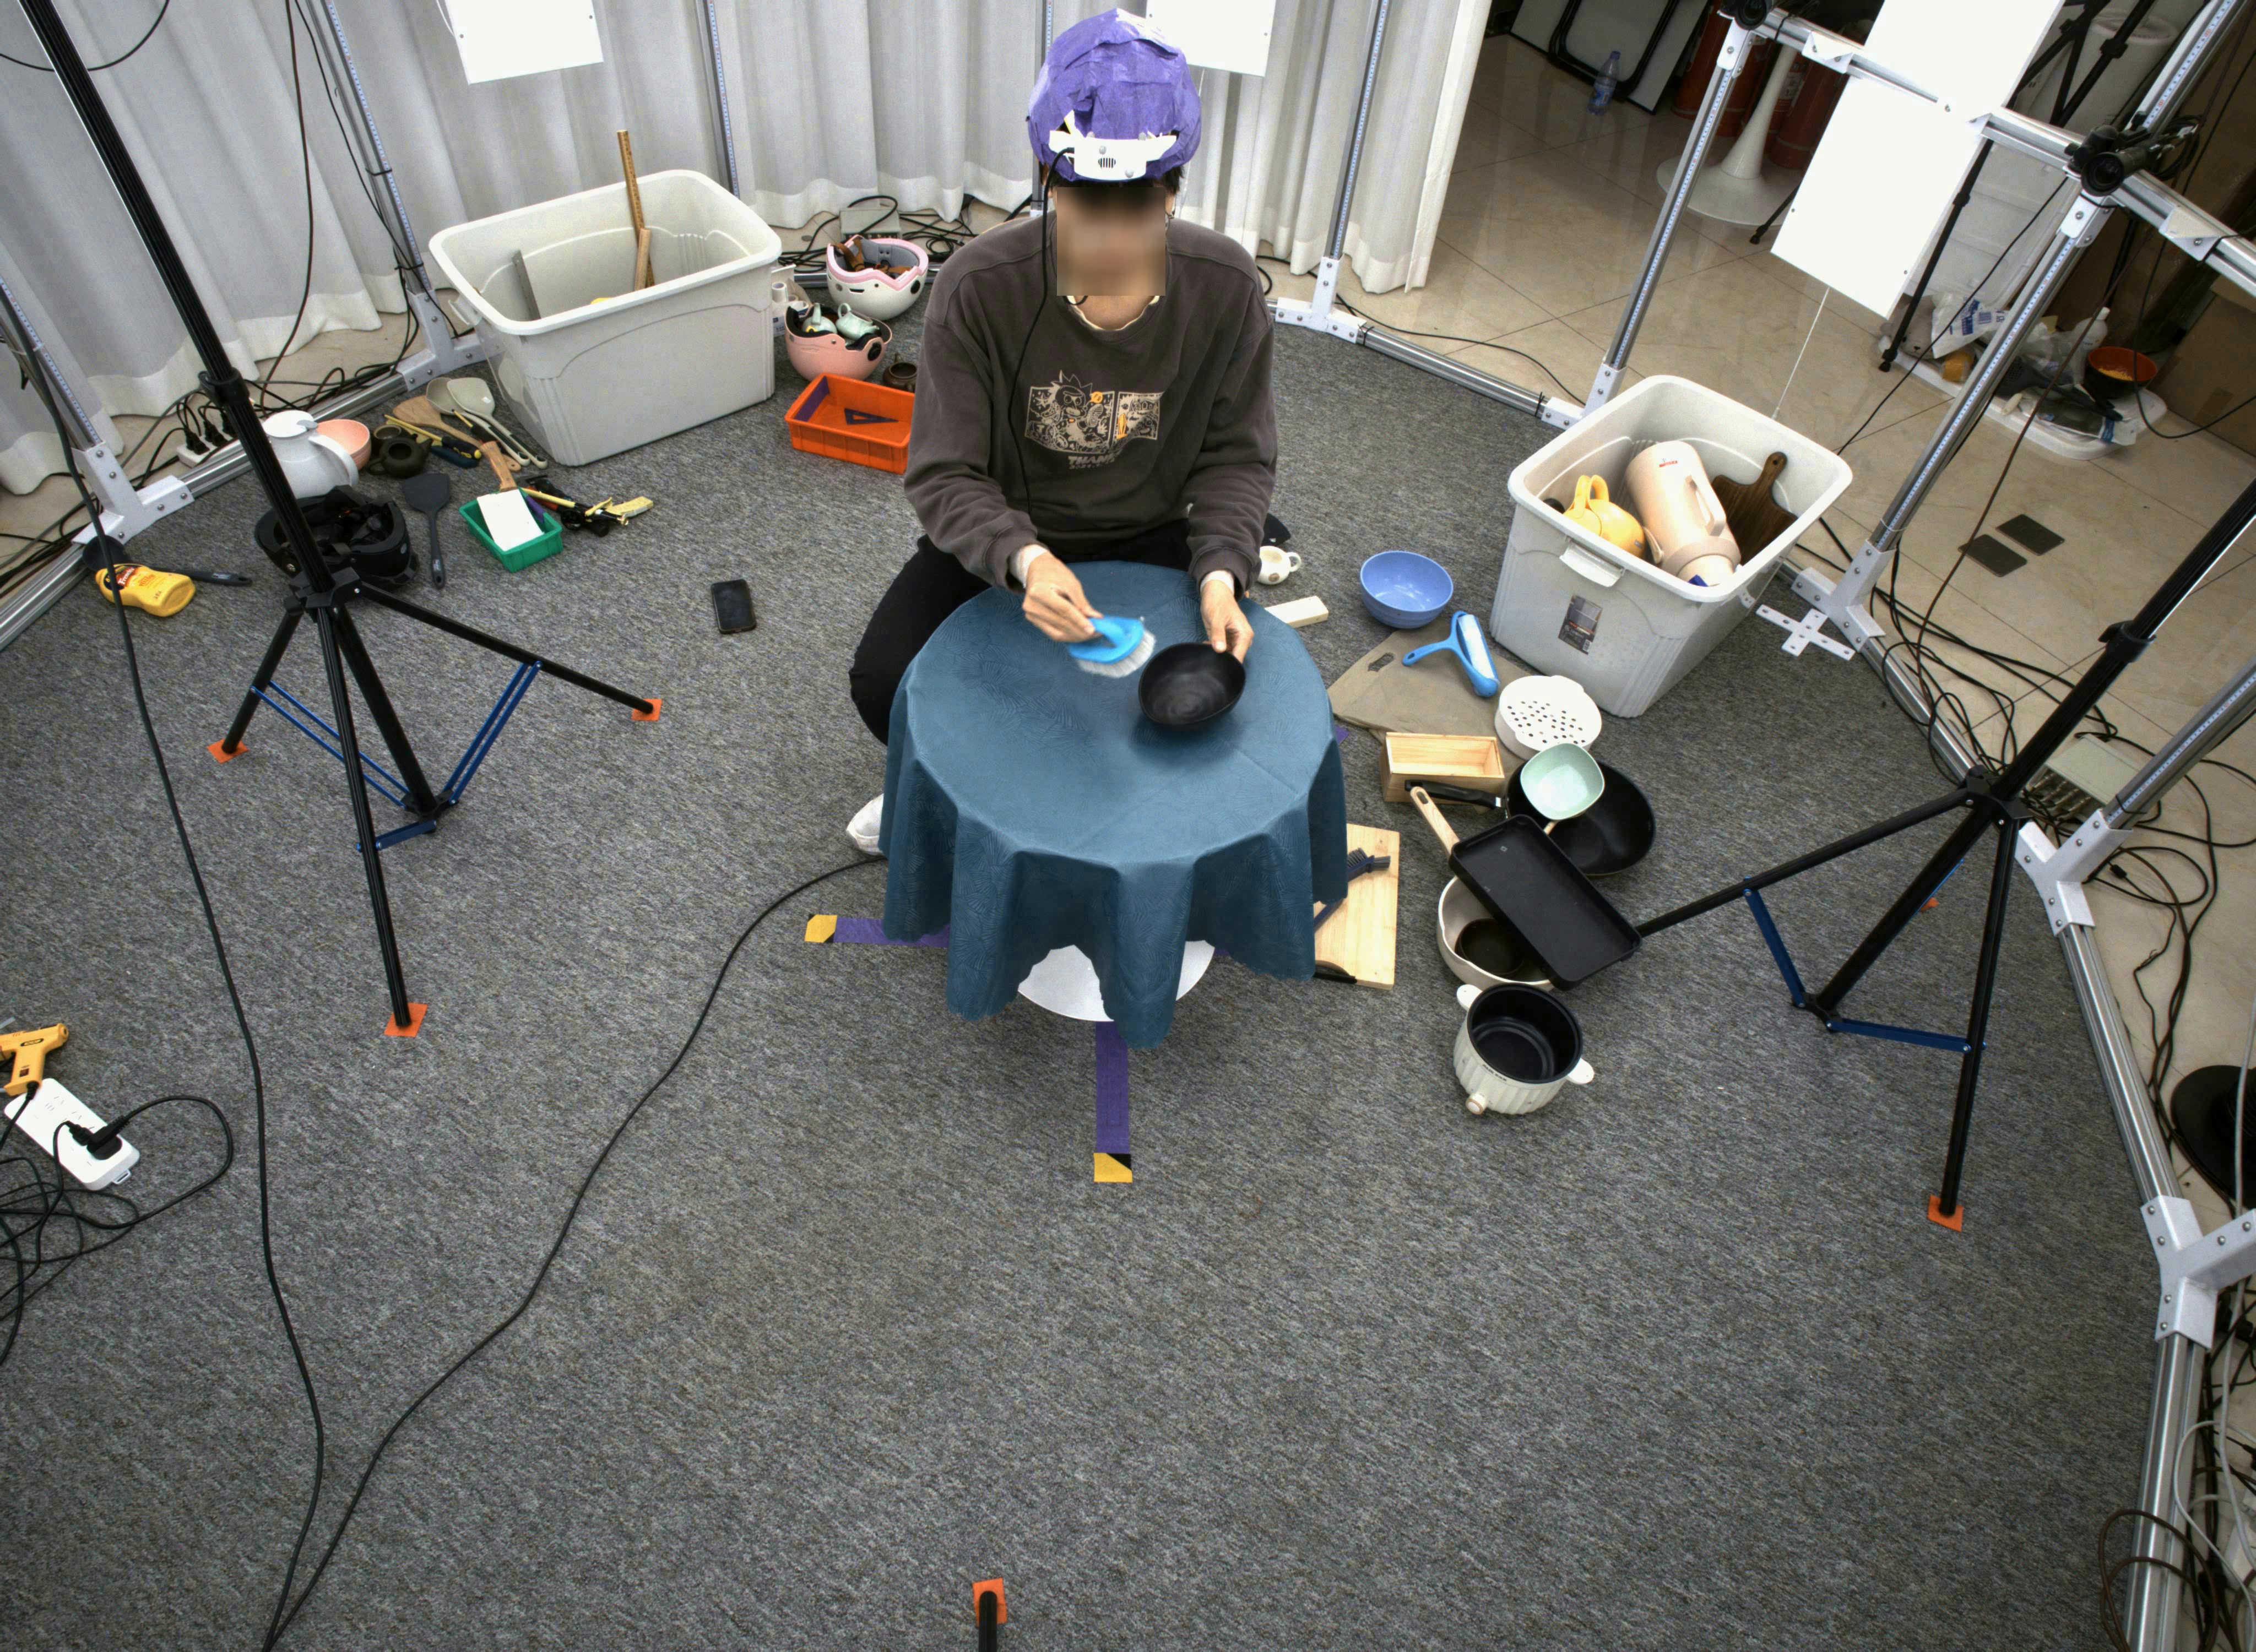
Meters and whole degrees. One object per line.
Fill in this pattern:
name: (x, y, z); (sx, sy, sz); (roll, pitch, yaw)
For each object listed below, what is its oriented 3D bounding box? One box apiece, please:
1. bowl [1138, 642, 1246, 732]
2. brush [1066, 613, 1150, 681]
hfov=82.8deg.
bowl: (0.088, -0.181, 1.788); (0.139, 0.065, 0.172); (32, 56, 23)
brush: (-0.036, -0.248, 1.697); (0.085, 0.062, 0.143); (-52, 34, -10)
